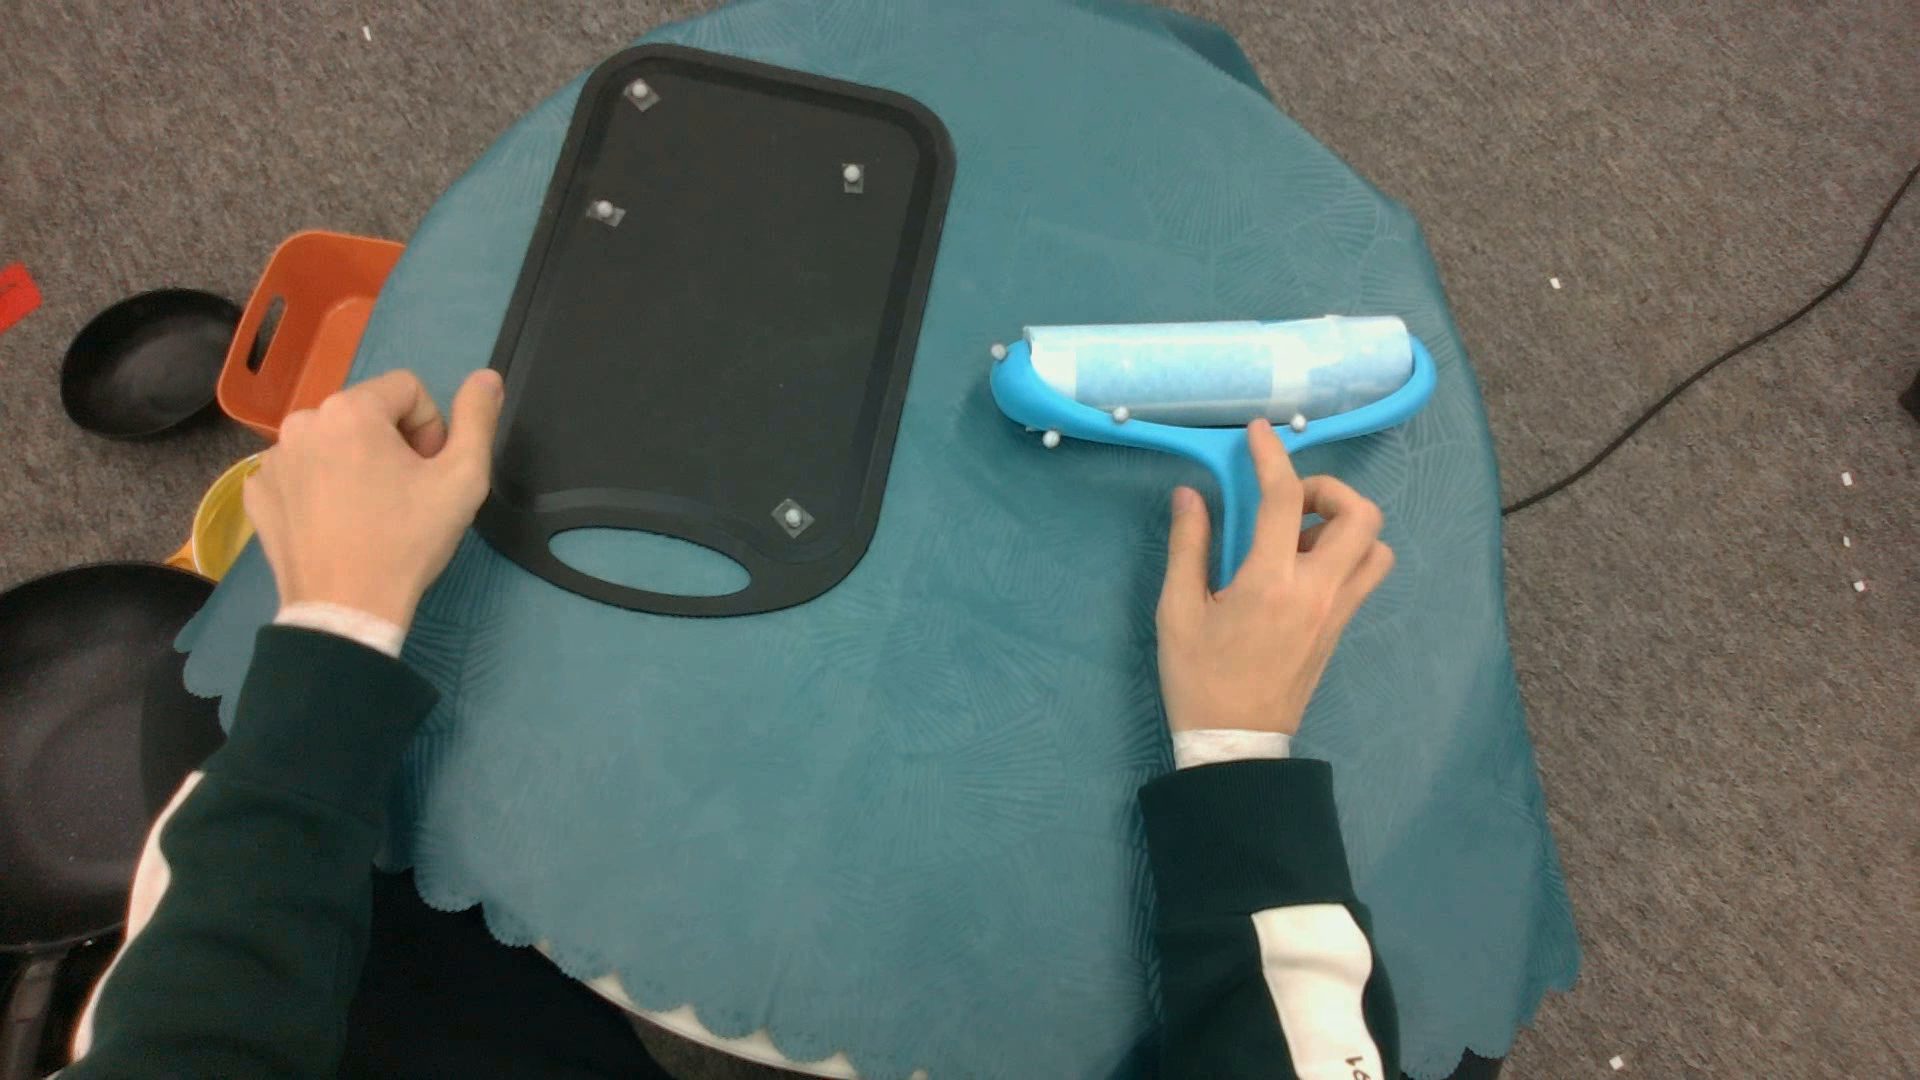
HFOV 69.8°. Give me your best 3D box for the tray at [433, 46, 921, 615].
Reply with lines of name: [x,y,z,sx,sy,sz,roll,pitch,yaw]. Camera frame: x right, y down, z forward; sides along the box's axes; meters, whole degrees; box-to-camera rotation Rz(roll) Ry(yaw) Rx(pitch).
tray: [-0.142,-0.117,0.720,0.211,0.010,0.326,10,69,-2]

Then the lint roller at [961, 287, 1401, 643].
lint roller: [0.123,-0.043,0.691,0.229,0.067,0.181,-6,70,-9]
